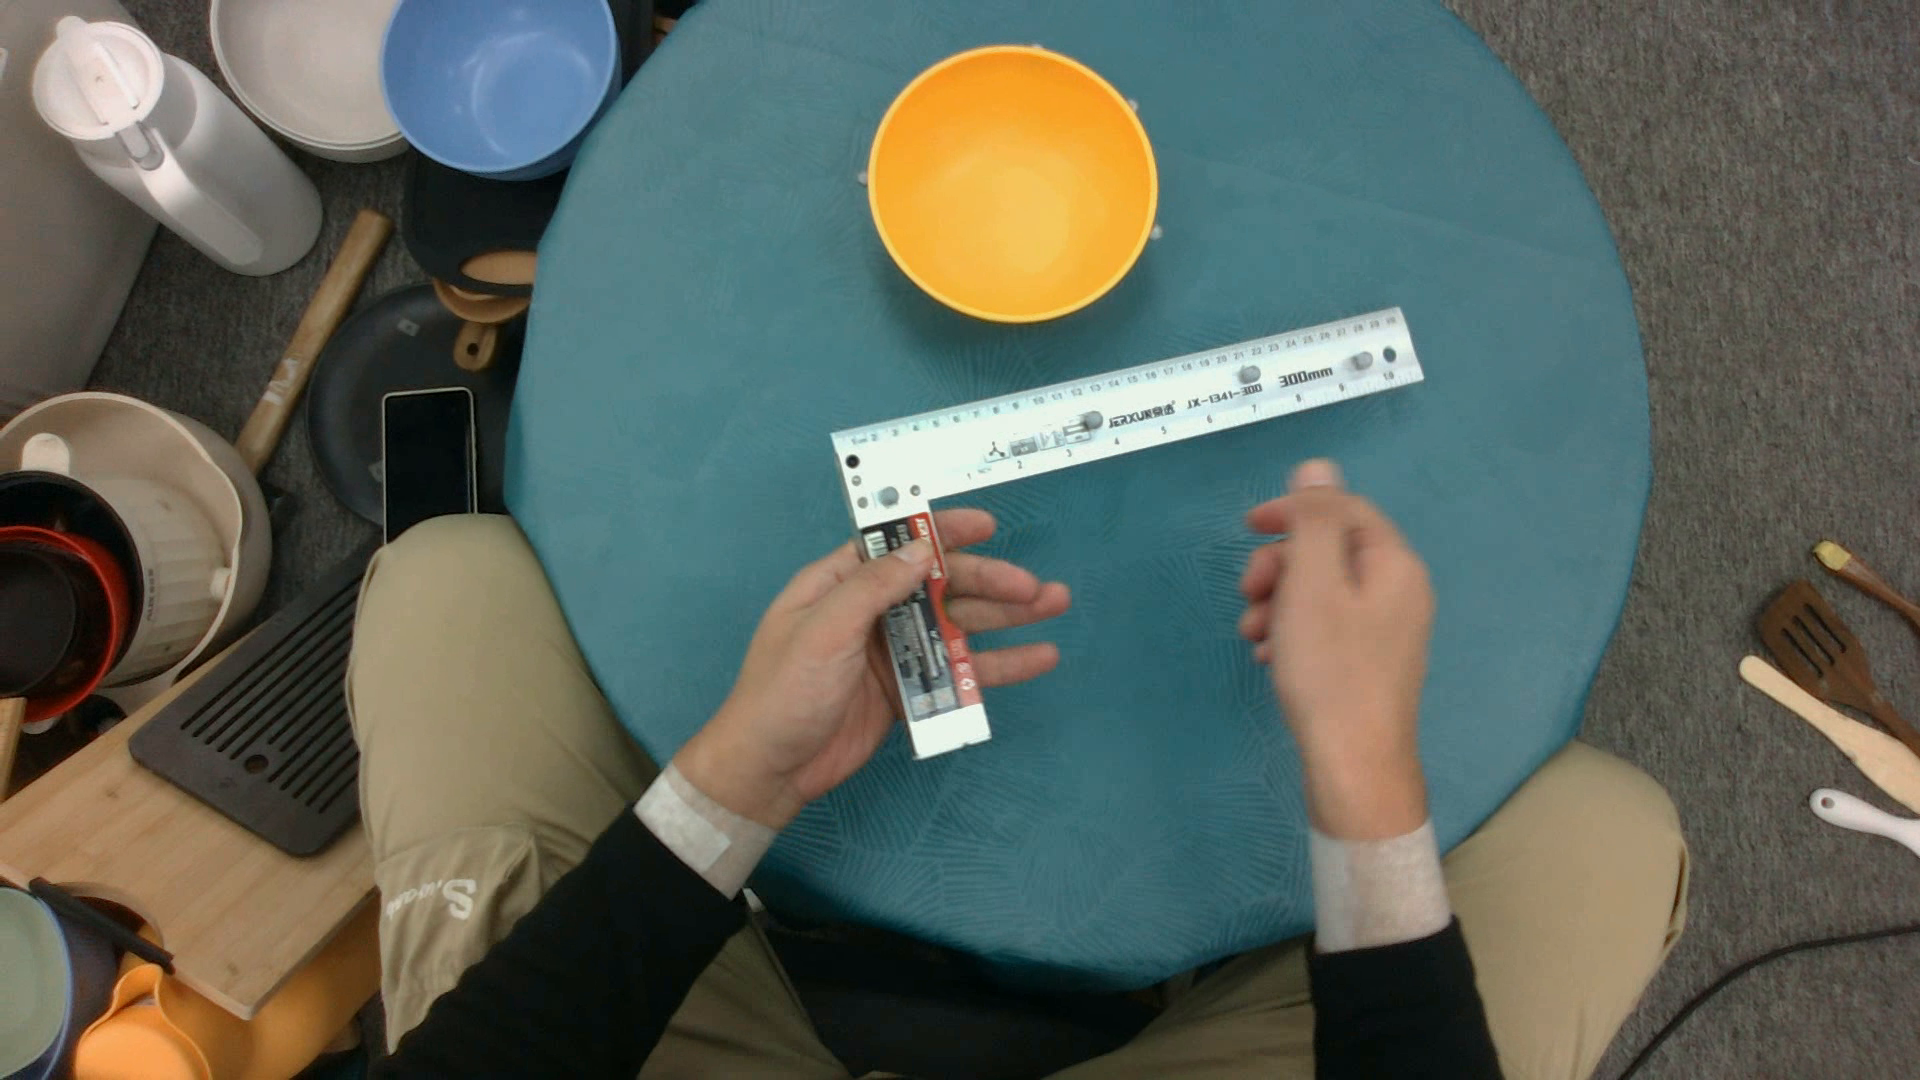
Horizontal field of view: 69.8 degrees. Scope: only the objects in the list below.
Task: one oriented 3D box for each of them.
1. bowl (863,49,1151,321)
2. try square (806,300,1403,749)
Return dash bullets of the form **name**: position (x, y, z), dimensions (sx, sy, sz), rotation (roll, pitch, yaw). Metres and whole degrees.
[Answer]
- **bowl**: position (0.024, -0.175, 0.718), dimensions (0.145, 0.060, 0.145), rotation (0, 81, 0)
- **try square**: position (0.091, -0.016, 0.653), dimensions (0.313, 0.016, 0.152), rotation (-13, 86, -18)
